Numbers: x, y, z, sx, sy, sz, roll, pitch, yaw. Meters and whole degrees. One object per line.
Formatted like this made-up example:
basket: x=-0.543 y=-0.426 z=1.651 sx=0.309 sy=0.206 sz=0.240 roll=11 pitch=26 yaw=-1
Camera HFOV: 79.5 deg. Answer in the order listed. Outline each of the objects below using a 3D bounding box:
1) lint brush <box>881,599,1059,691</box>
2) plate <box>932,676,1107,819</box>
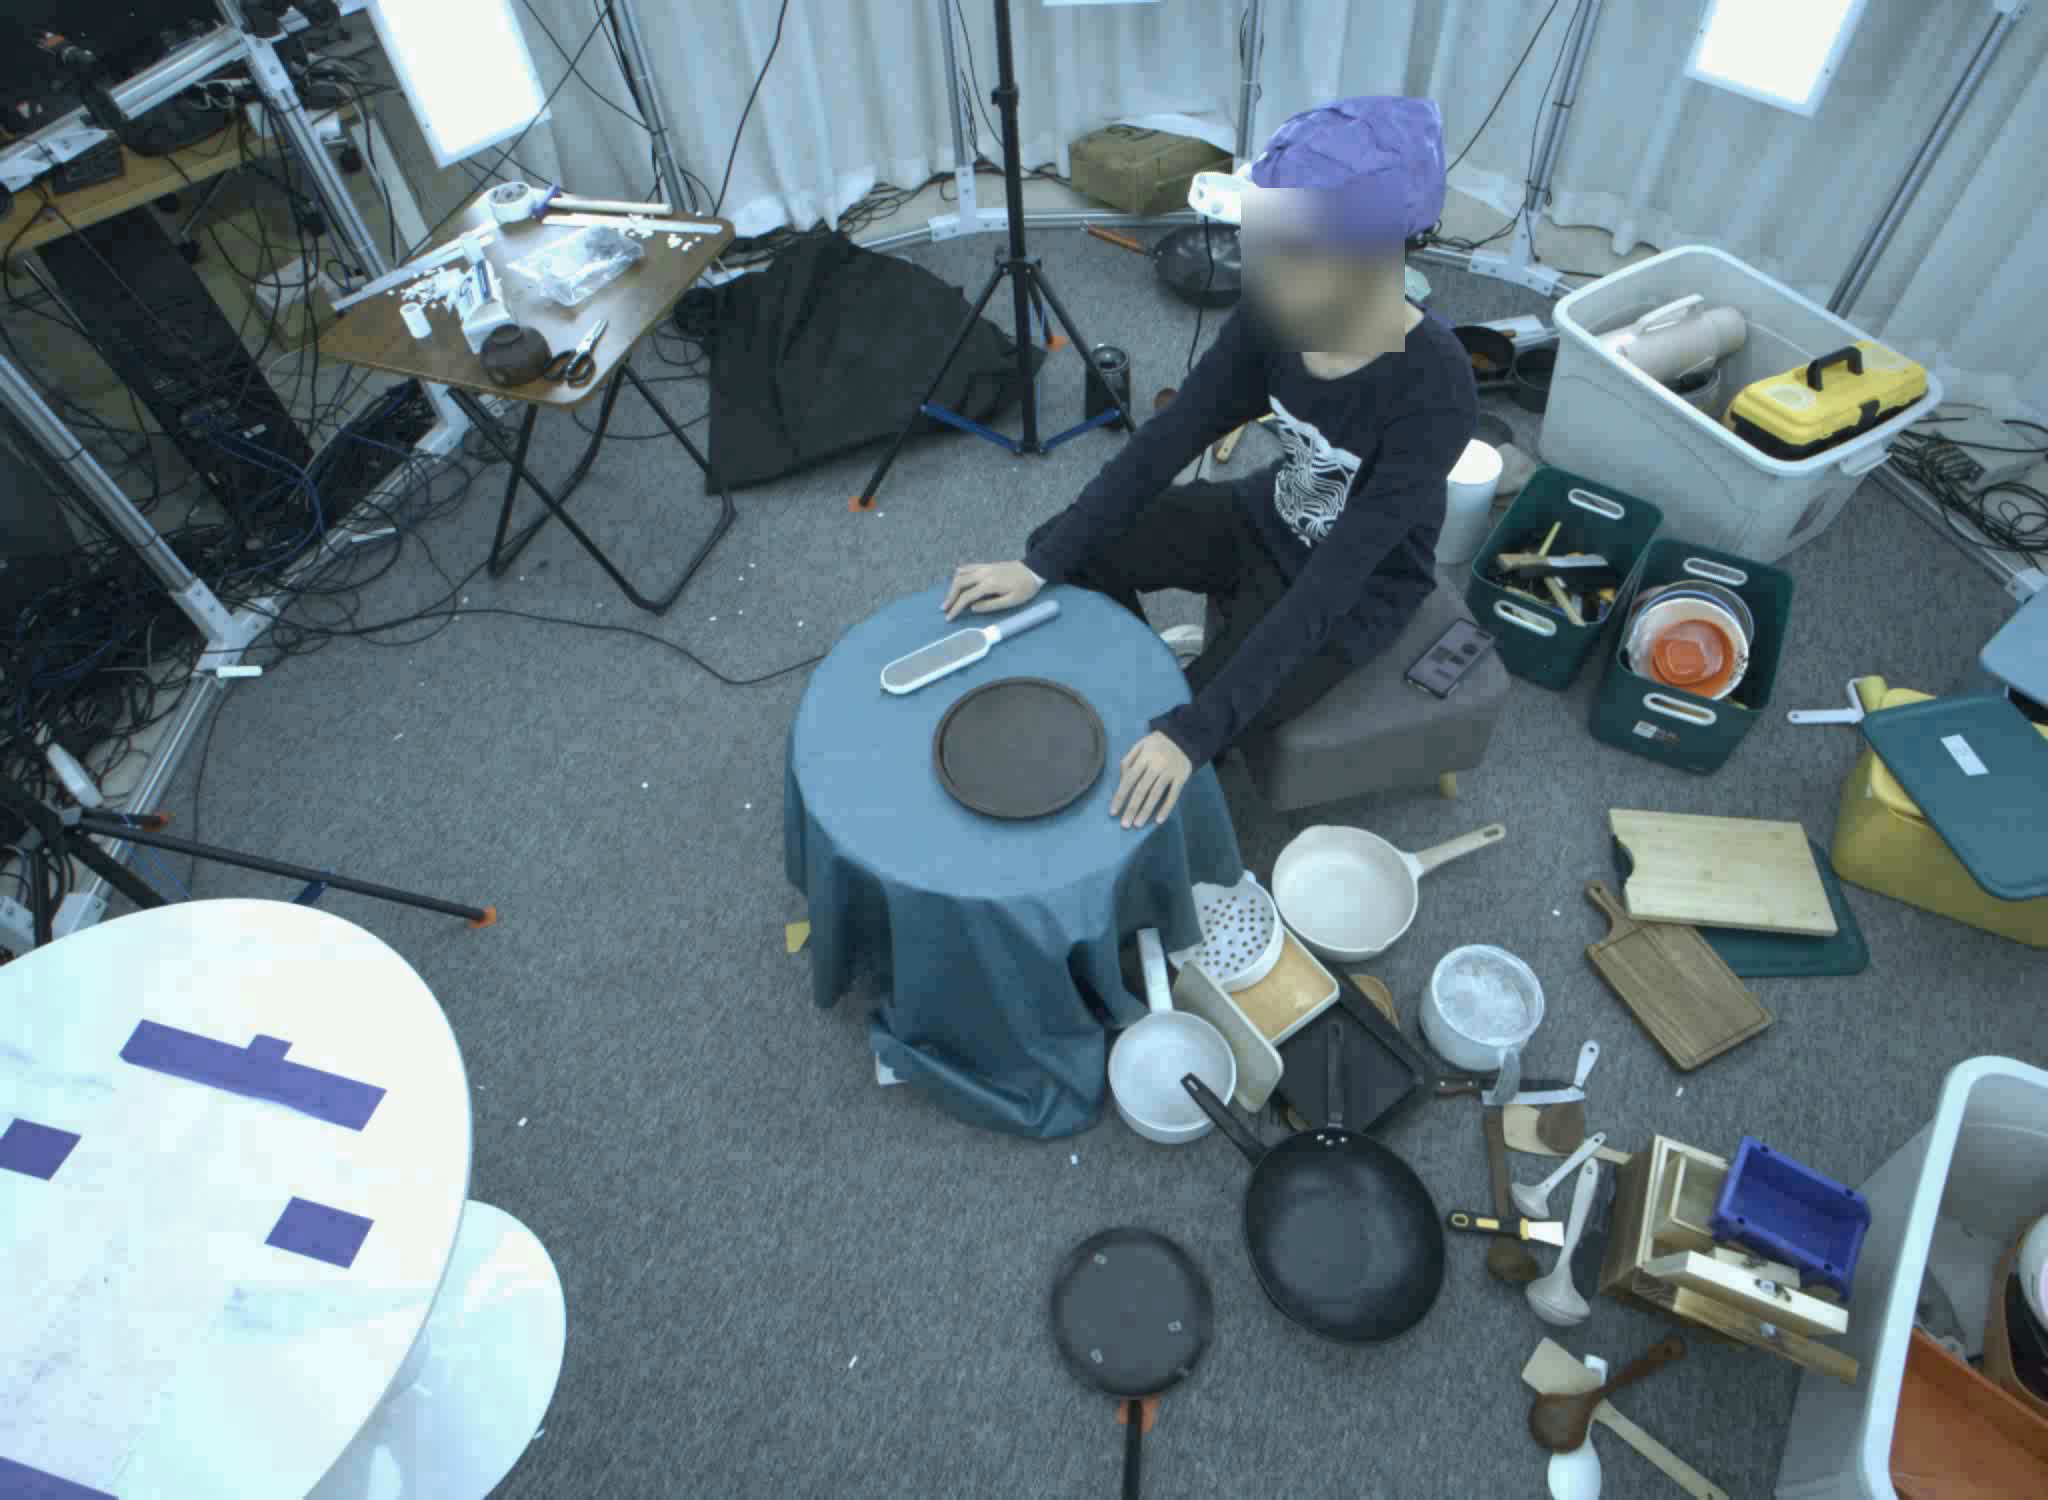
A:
lint brush: x=-0.081 y=-0.166 z=1.899 sx=0.311 sy=0.021 sz=0.059 roll=-26 pitch=52 yaw=-16
plate: x=-0.006 y=-0.005 z=1.783 sx=0.255 sy=0.029 sz=0.252 roll=0 pitch=56 yaw=1
